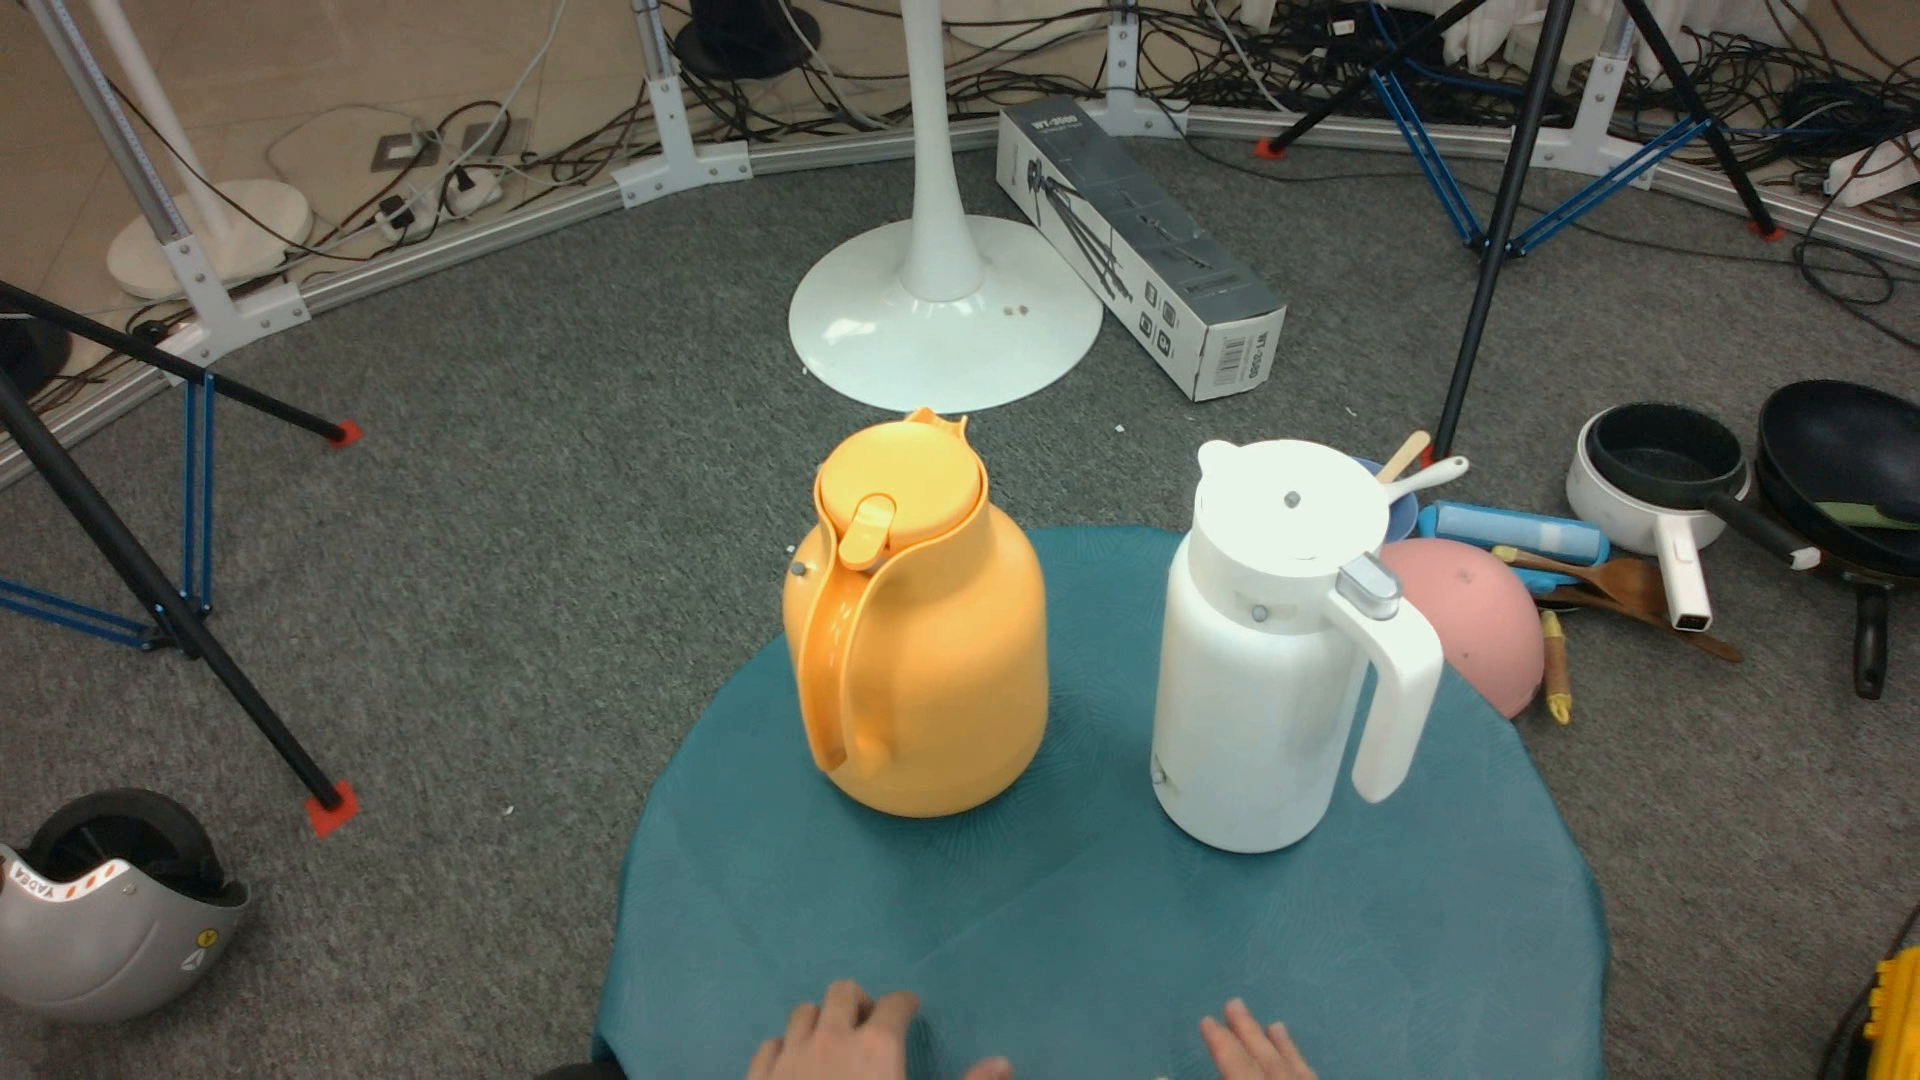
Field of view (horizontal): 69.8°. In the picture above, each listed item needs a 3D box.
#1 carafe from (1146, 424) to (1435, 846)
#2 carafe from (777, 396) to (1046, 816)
[{"bbox_3d":[0.185,0.075,0.799,0.124,0.267,0.173,-26,52,-22],"label":"carafe"},{"bbox_3d":[-0.039,0.054,0.831,0.163,0.259,0.203,14,48,19],"label":"carafe"}]
